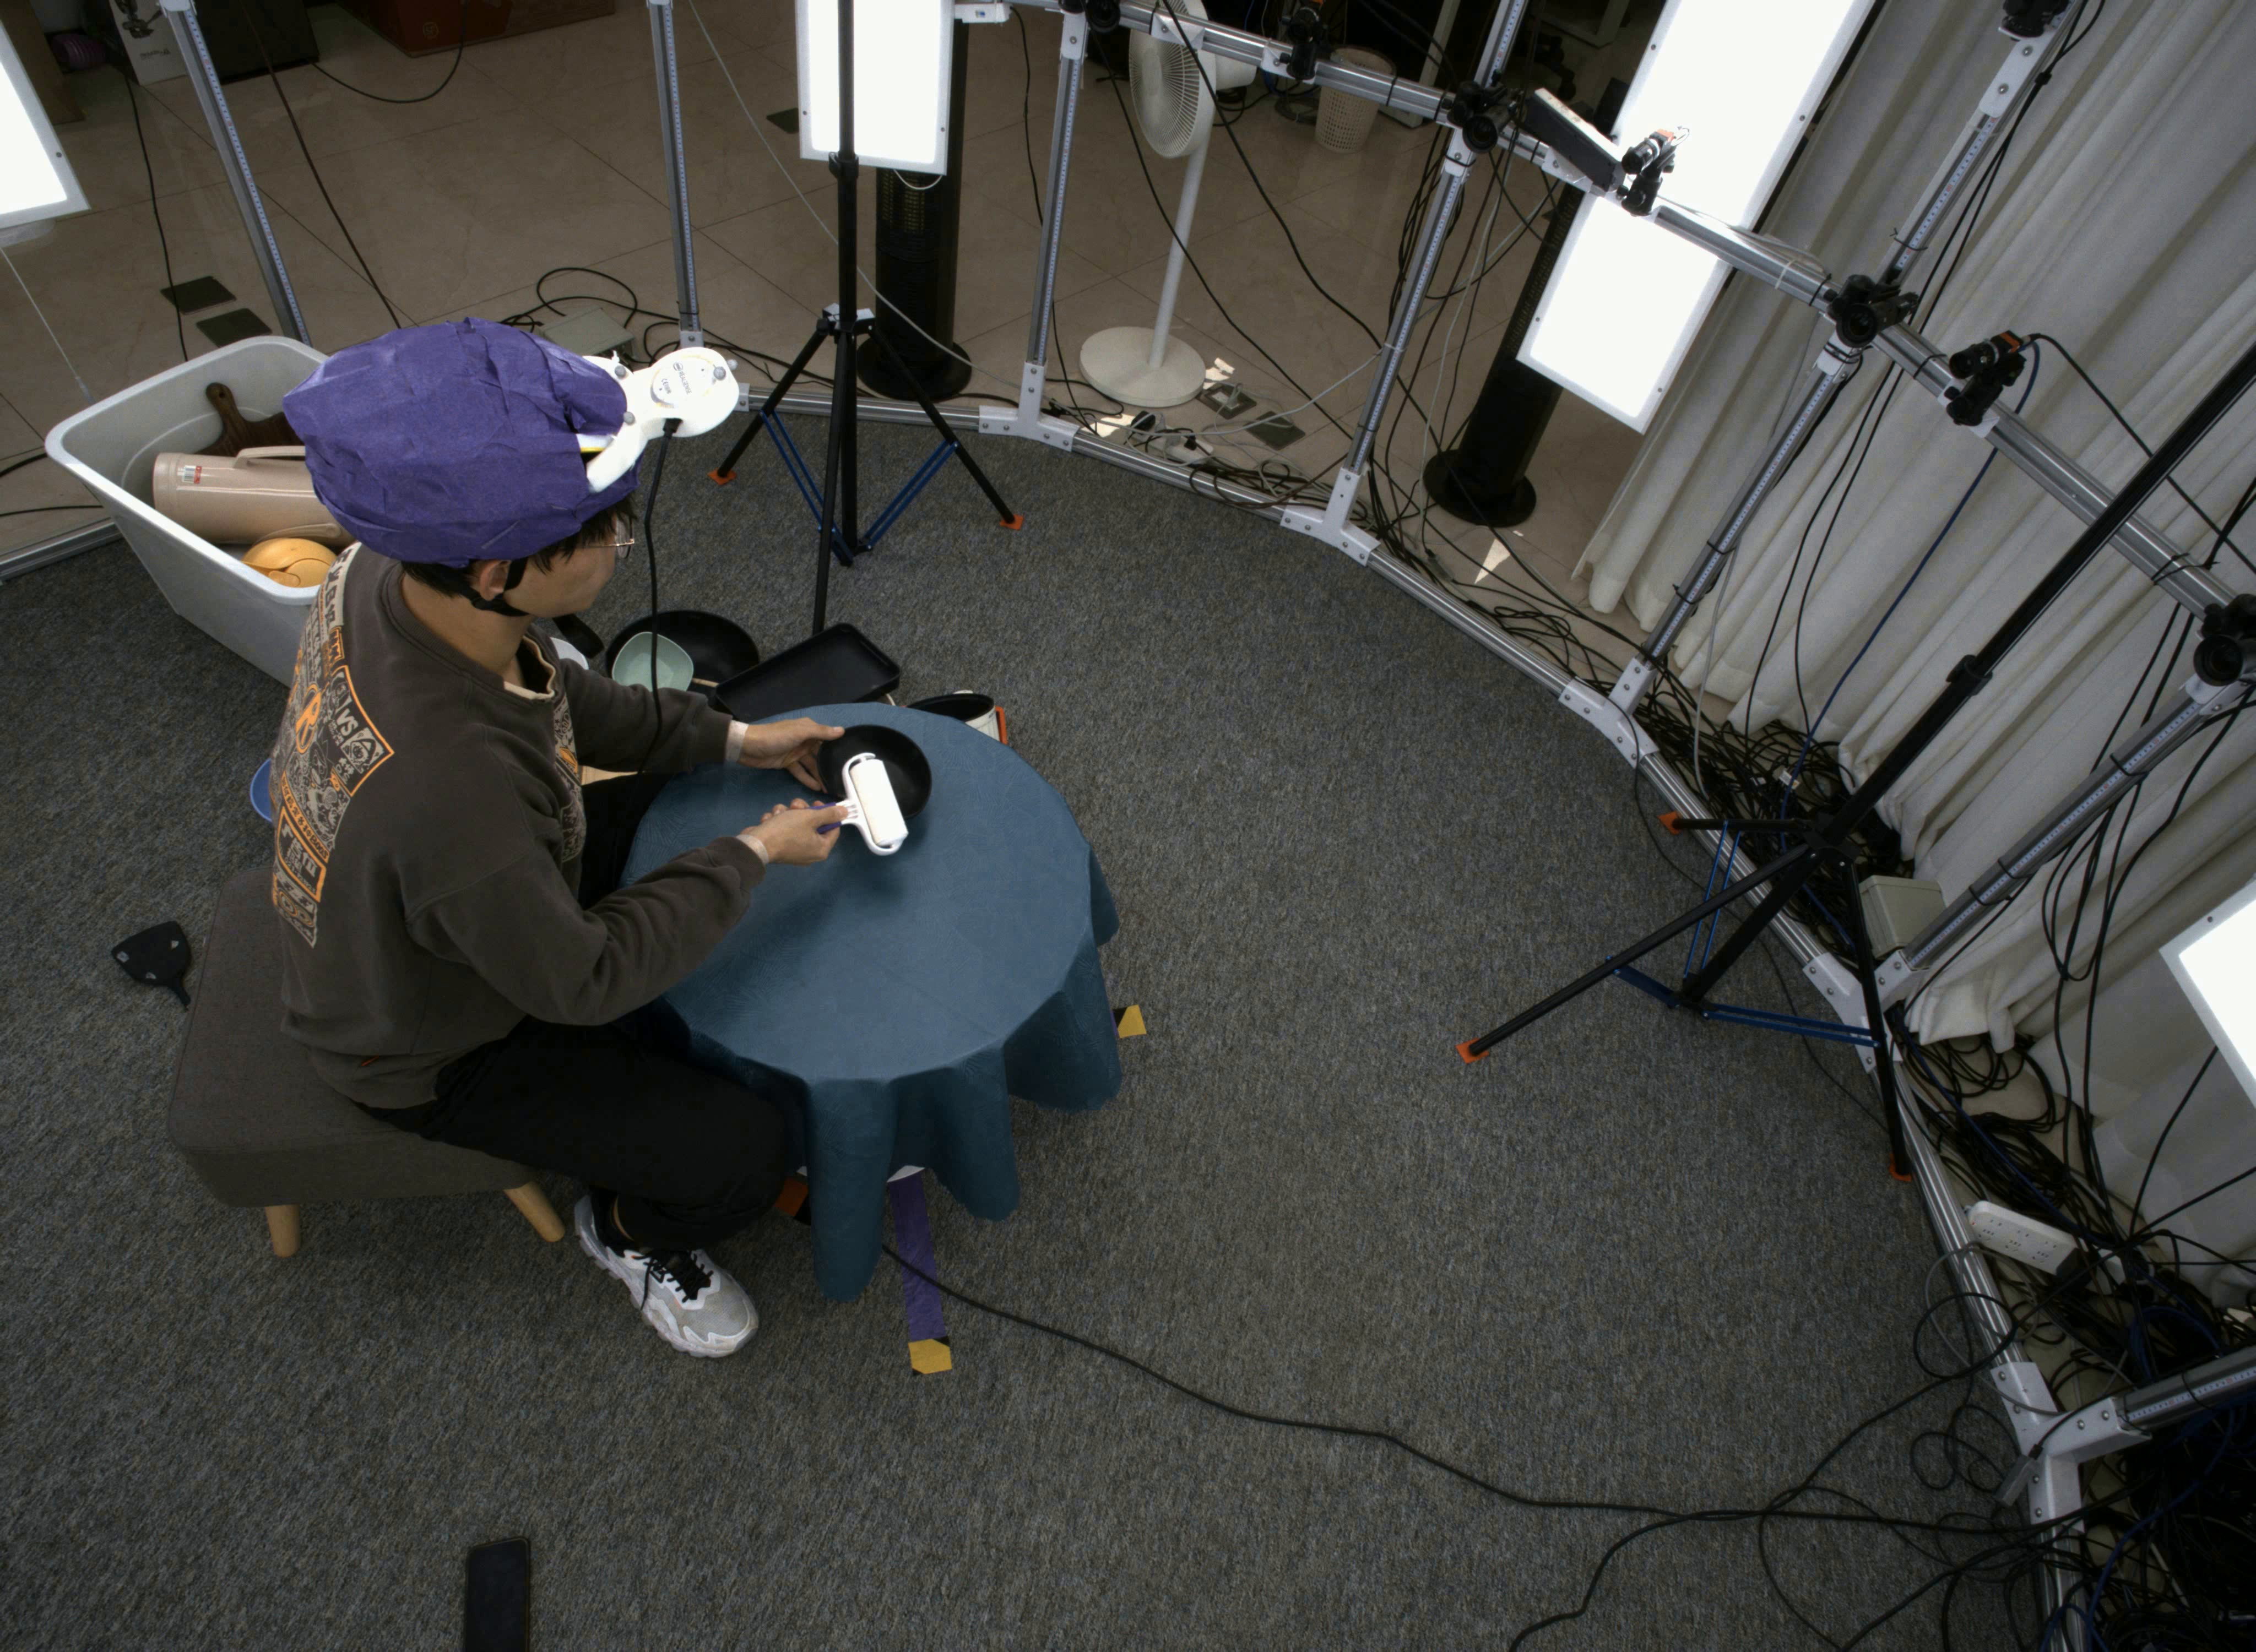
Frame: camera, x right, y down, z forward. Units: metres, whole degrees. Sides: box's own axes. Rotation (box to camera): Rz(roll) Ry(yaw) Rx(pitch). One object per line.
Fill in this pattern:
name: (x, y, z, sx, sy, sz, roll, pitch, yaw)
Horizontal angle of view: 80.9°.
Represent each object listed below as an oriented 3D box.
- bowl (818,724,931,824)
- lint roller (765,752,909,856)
bowl: (-0.342, -0.059, 1.762, 0.167, 0.068, 0.137, 40, 56, 14)
lint roller: (-0.367, -0.018, 1.622, 0.183, 0.049, 0.134, -15, 86, -45)
